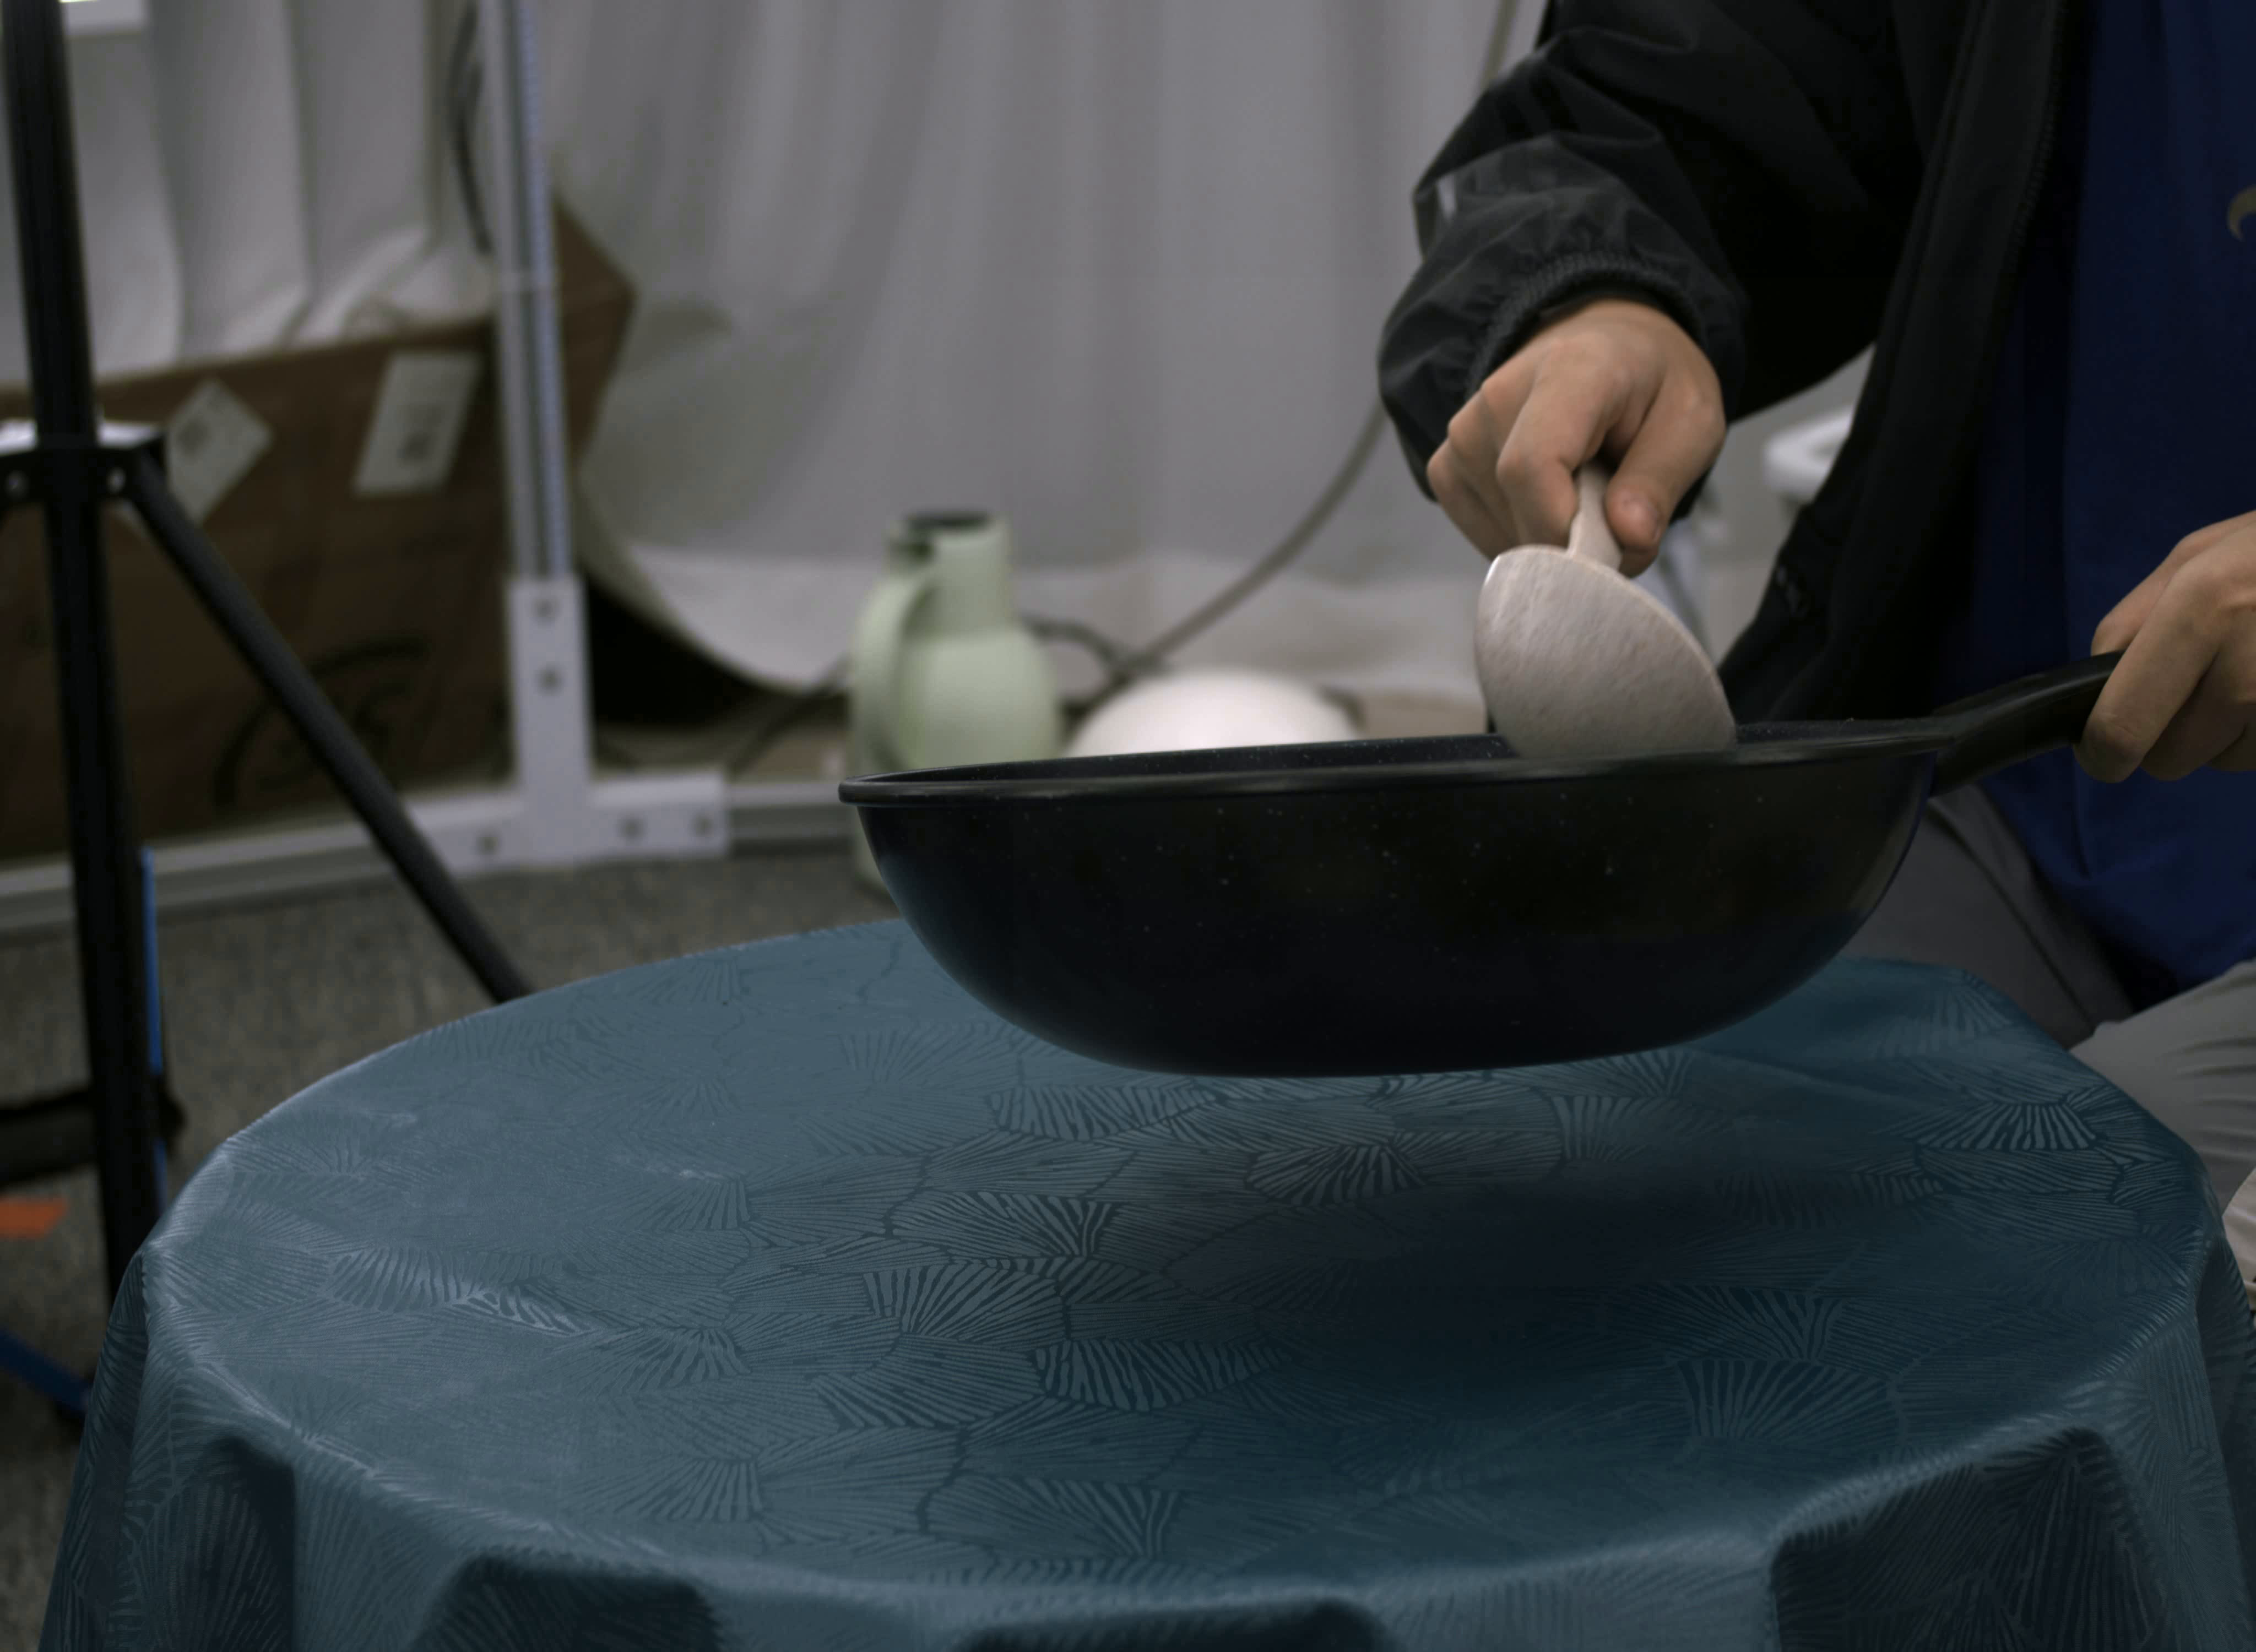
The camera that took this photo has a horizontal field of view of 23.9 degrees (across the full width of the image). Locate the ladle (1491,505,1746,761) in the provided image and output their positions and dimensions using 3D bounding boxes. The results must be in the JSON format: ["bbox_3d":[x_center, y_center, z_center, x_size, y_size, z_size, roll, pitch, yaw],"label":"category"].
[{"bbox_3d":[0.155,-0.076,1.584,0.070,0.089,0.273,-33,7,17],"label":"ladle"}]

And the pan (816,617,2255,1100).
[{"bbox_3d":[0.146,0.007,1.491,0.468,0.112,0.315,-4,4,-20],"label":"pan"}]
